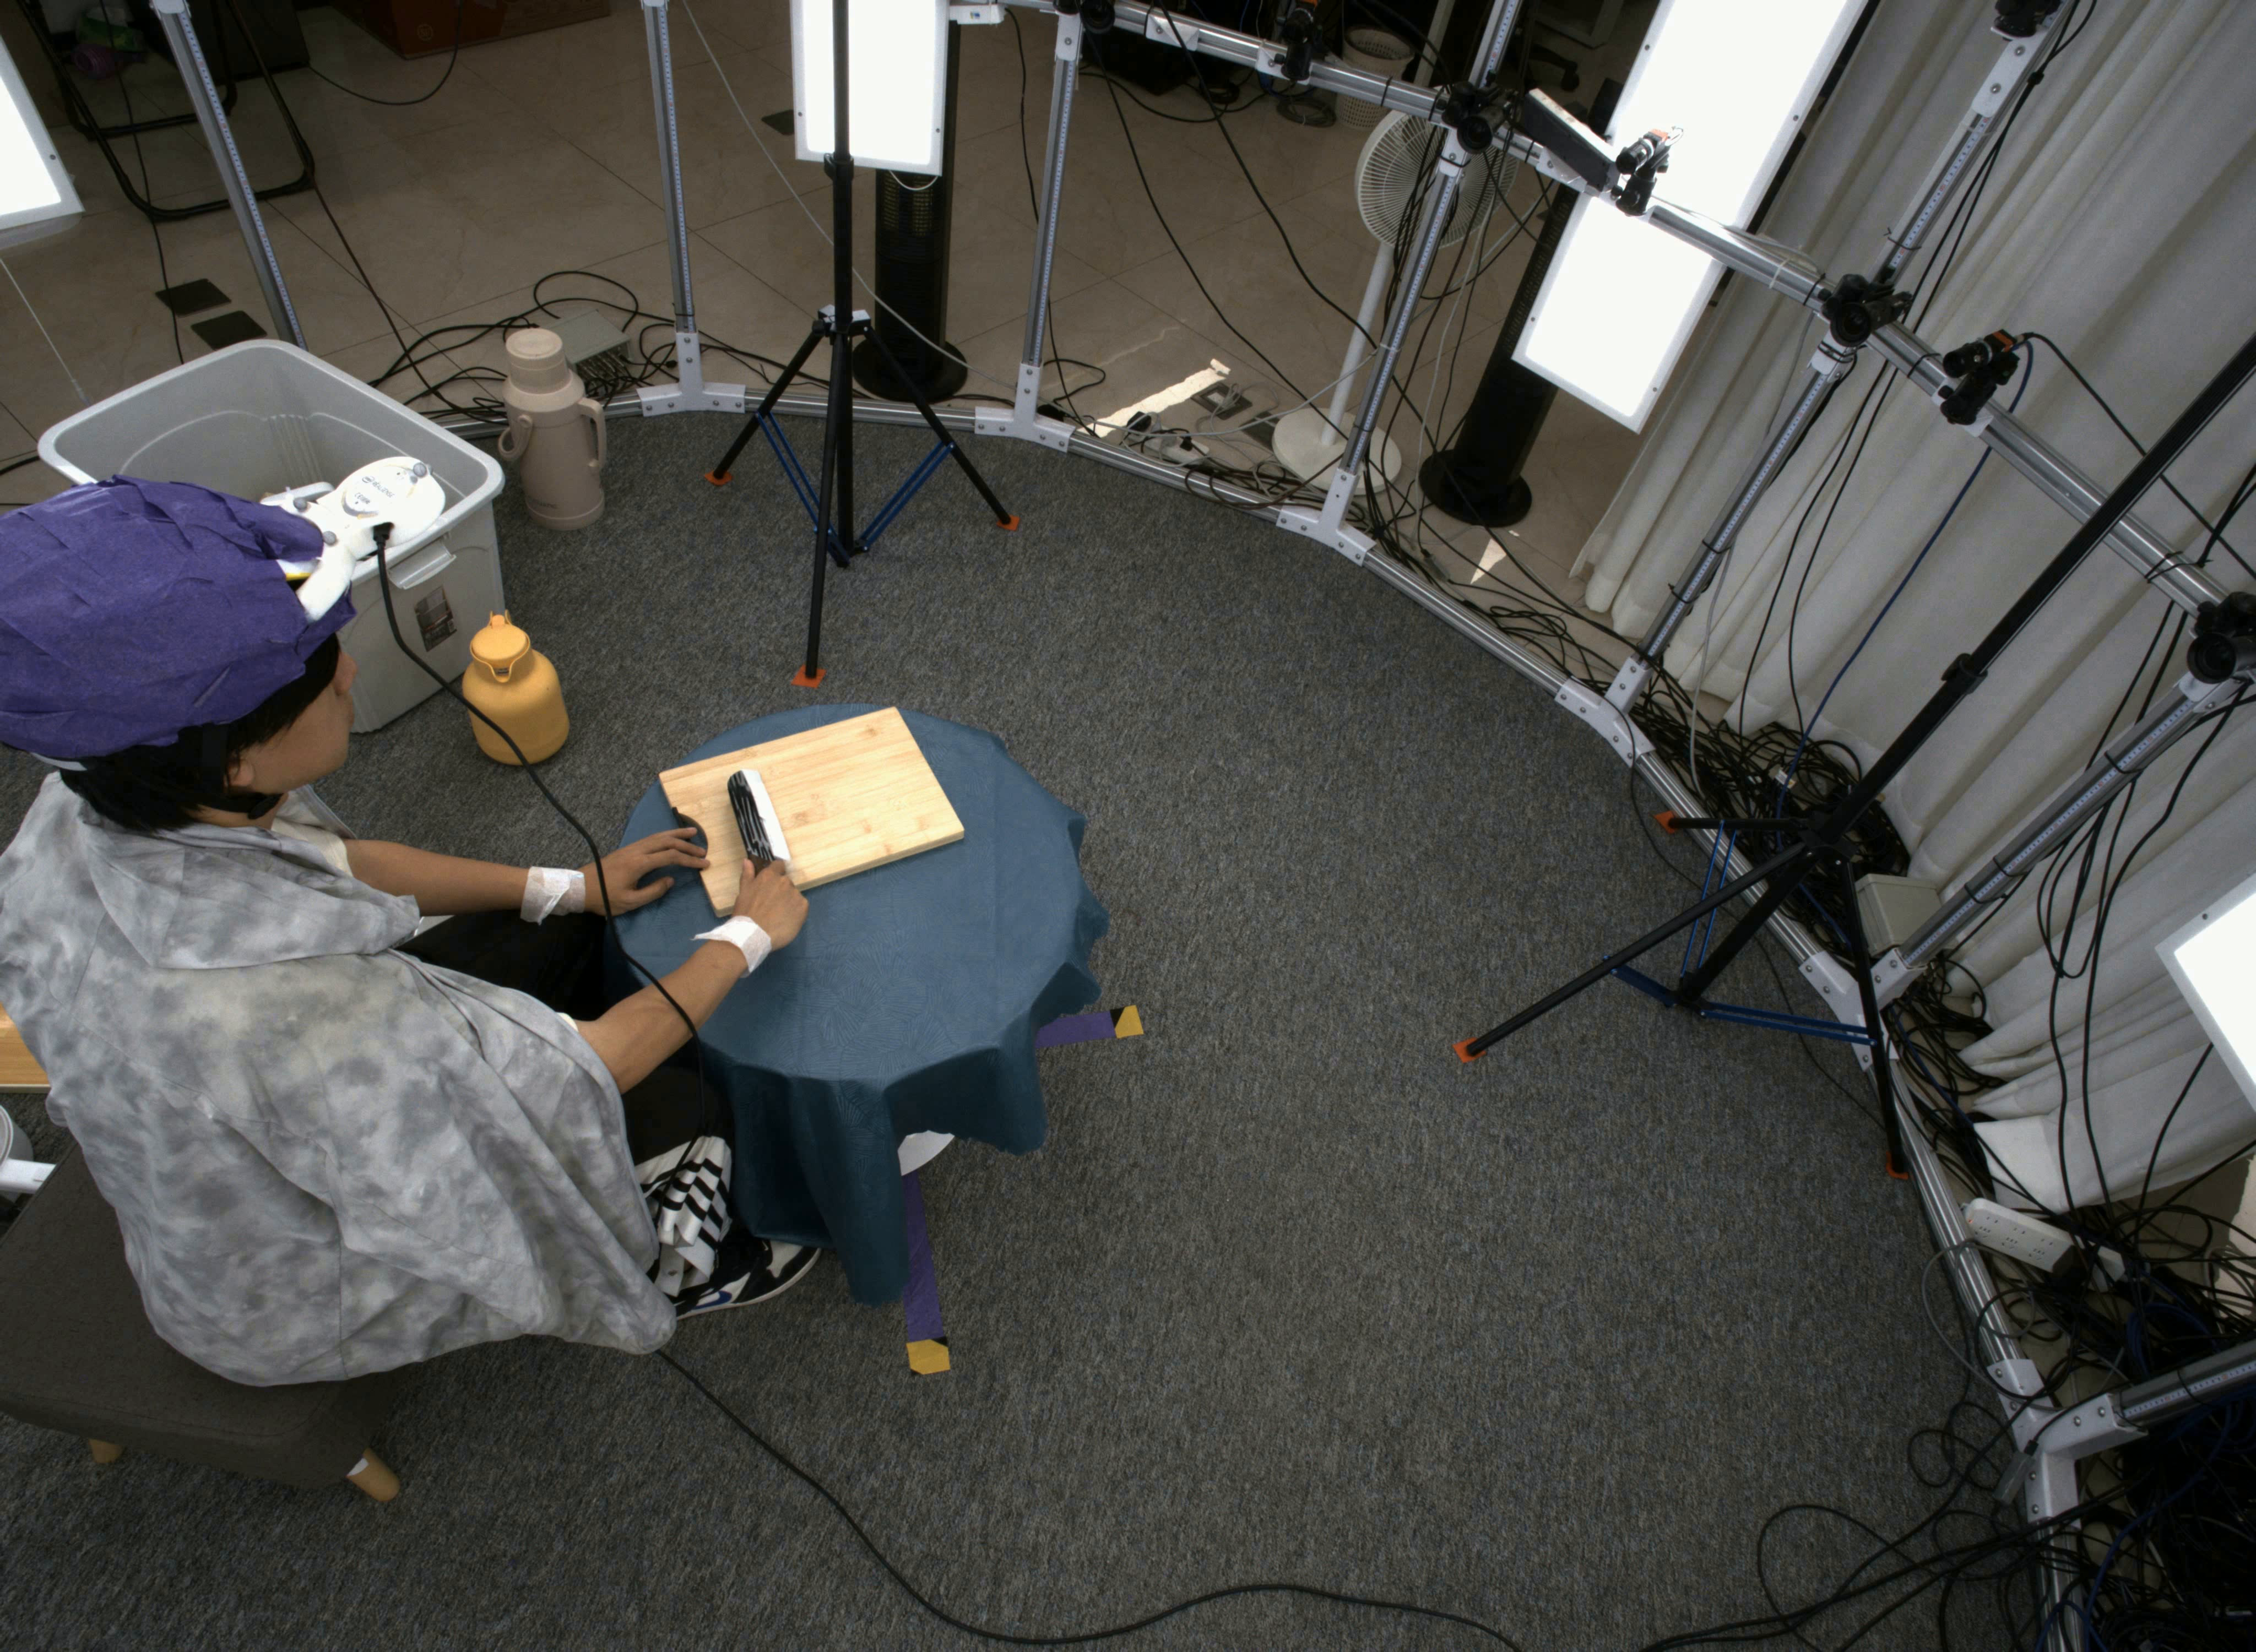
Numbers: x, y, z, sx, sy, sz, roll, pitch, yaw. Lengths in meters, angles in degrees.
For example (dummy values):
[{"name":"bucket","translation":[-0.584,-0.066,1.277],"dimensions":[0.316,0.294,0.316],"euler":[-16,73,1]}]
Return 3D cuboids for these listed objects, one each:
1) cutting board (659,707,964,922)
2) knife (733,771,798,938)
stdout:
[{"name":"cutting board","translation":[-0.421,-0.025,1.736],"dimensions":[0.350,0.024,0.244],"euler":[-20,61,-26]},{"name":"knife","translation":[-0.449,0.027,1.629],"dimensions":[0.070,0.024,0.291],"euler":[19,34,-47]}]
